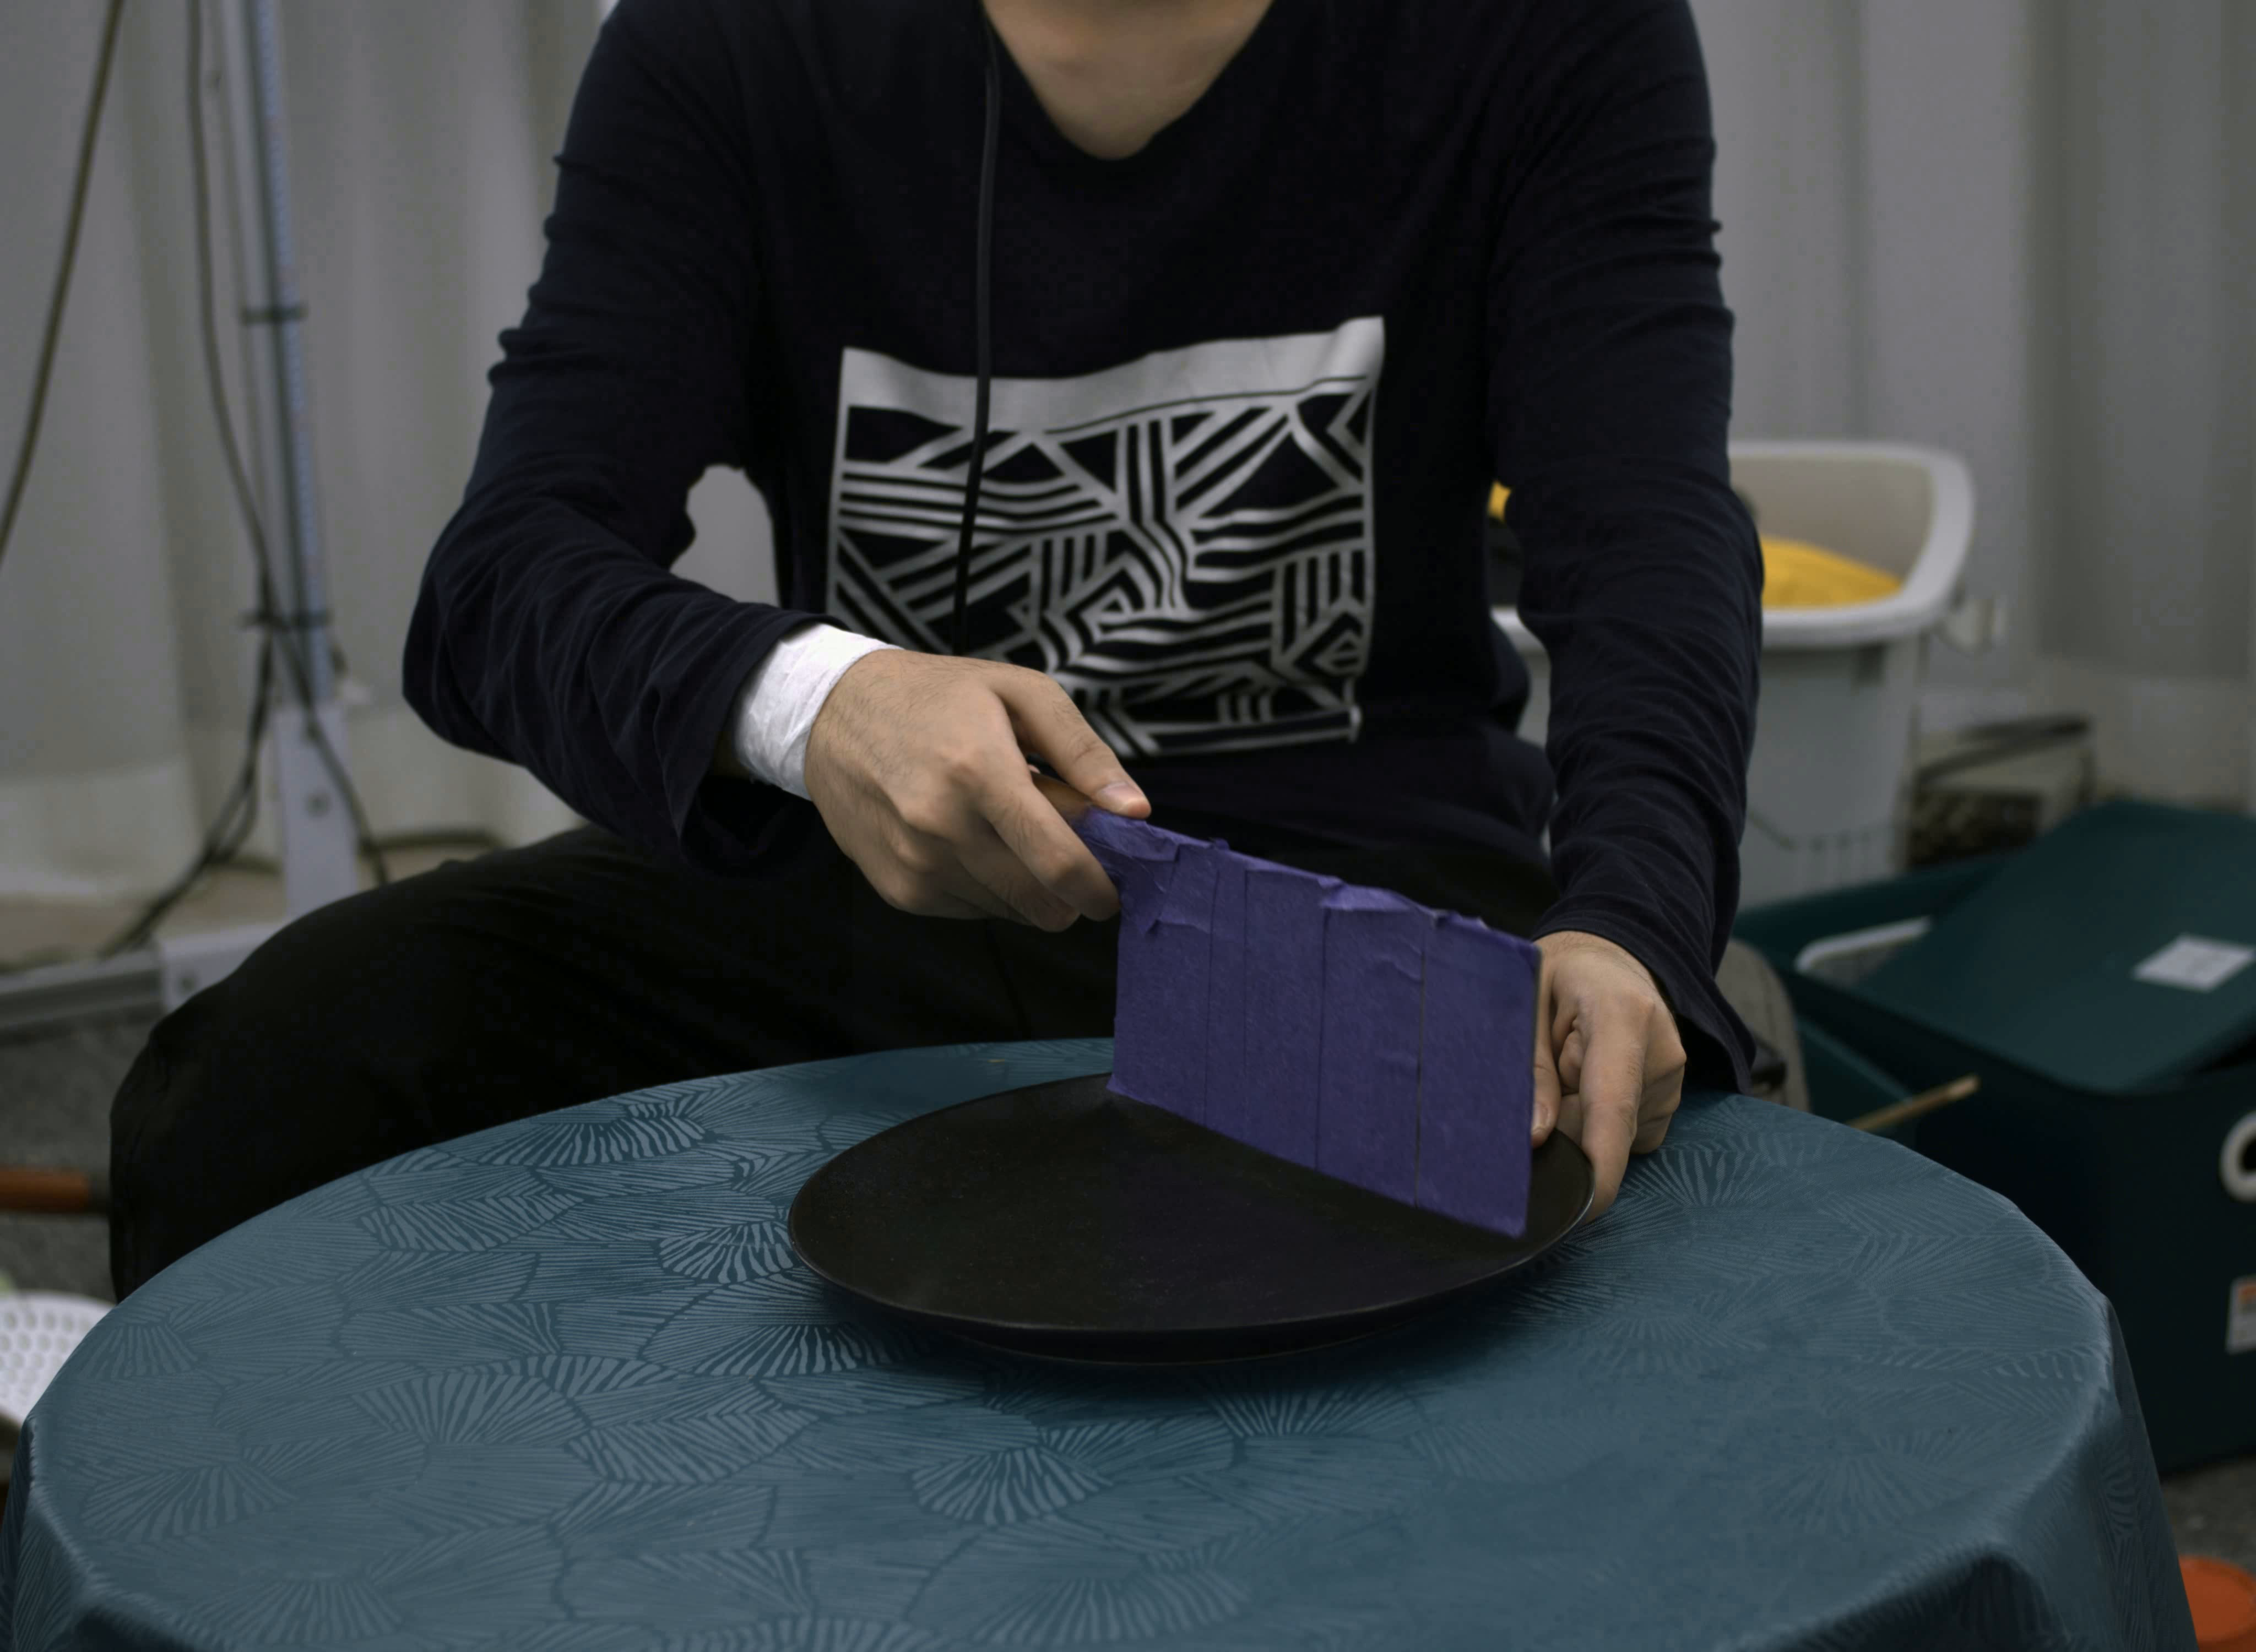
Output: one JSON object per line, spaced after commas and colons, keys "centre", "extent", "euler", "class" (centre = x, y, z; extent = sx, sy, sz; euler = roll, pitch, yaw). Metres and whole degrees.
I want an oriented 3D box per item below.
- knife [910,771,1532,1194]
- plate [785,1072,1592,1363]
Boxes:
{"centre": [0.023, 0.048, 1.698], "extent": [0.032, 0.104, 0.317], "euler": [-1, 9, -33], "class": "knife"}
{"centre": [0.018, 0.119, 1.647], "extent": [0.243, 0.023, 0.246], "euler": [-3, 15, 1], "class": "plate"}
